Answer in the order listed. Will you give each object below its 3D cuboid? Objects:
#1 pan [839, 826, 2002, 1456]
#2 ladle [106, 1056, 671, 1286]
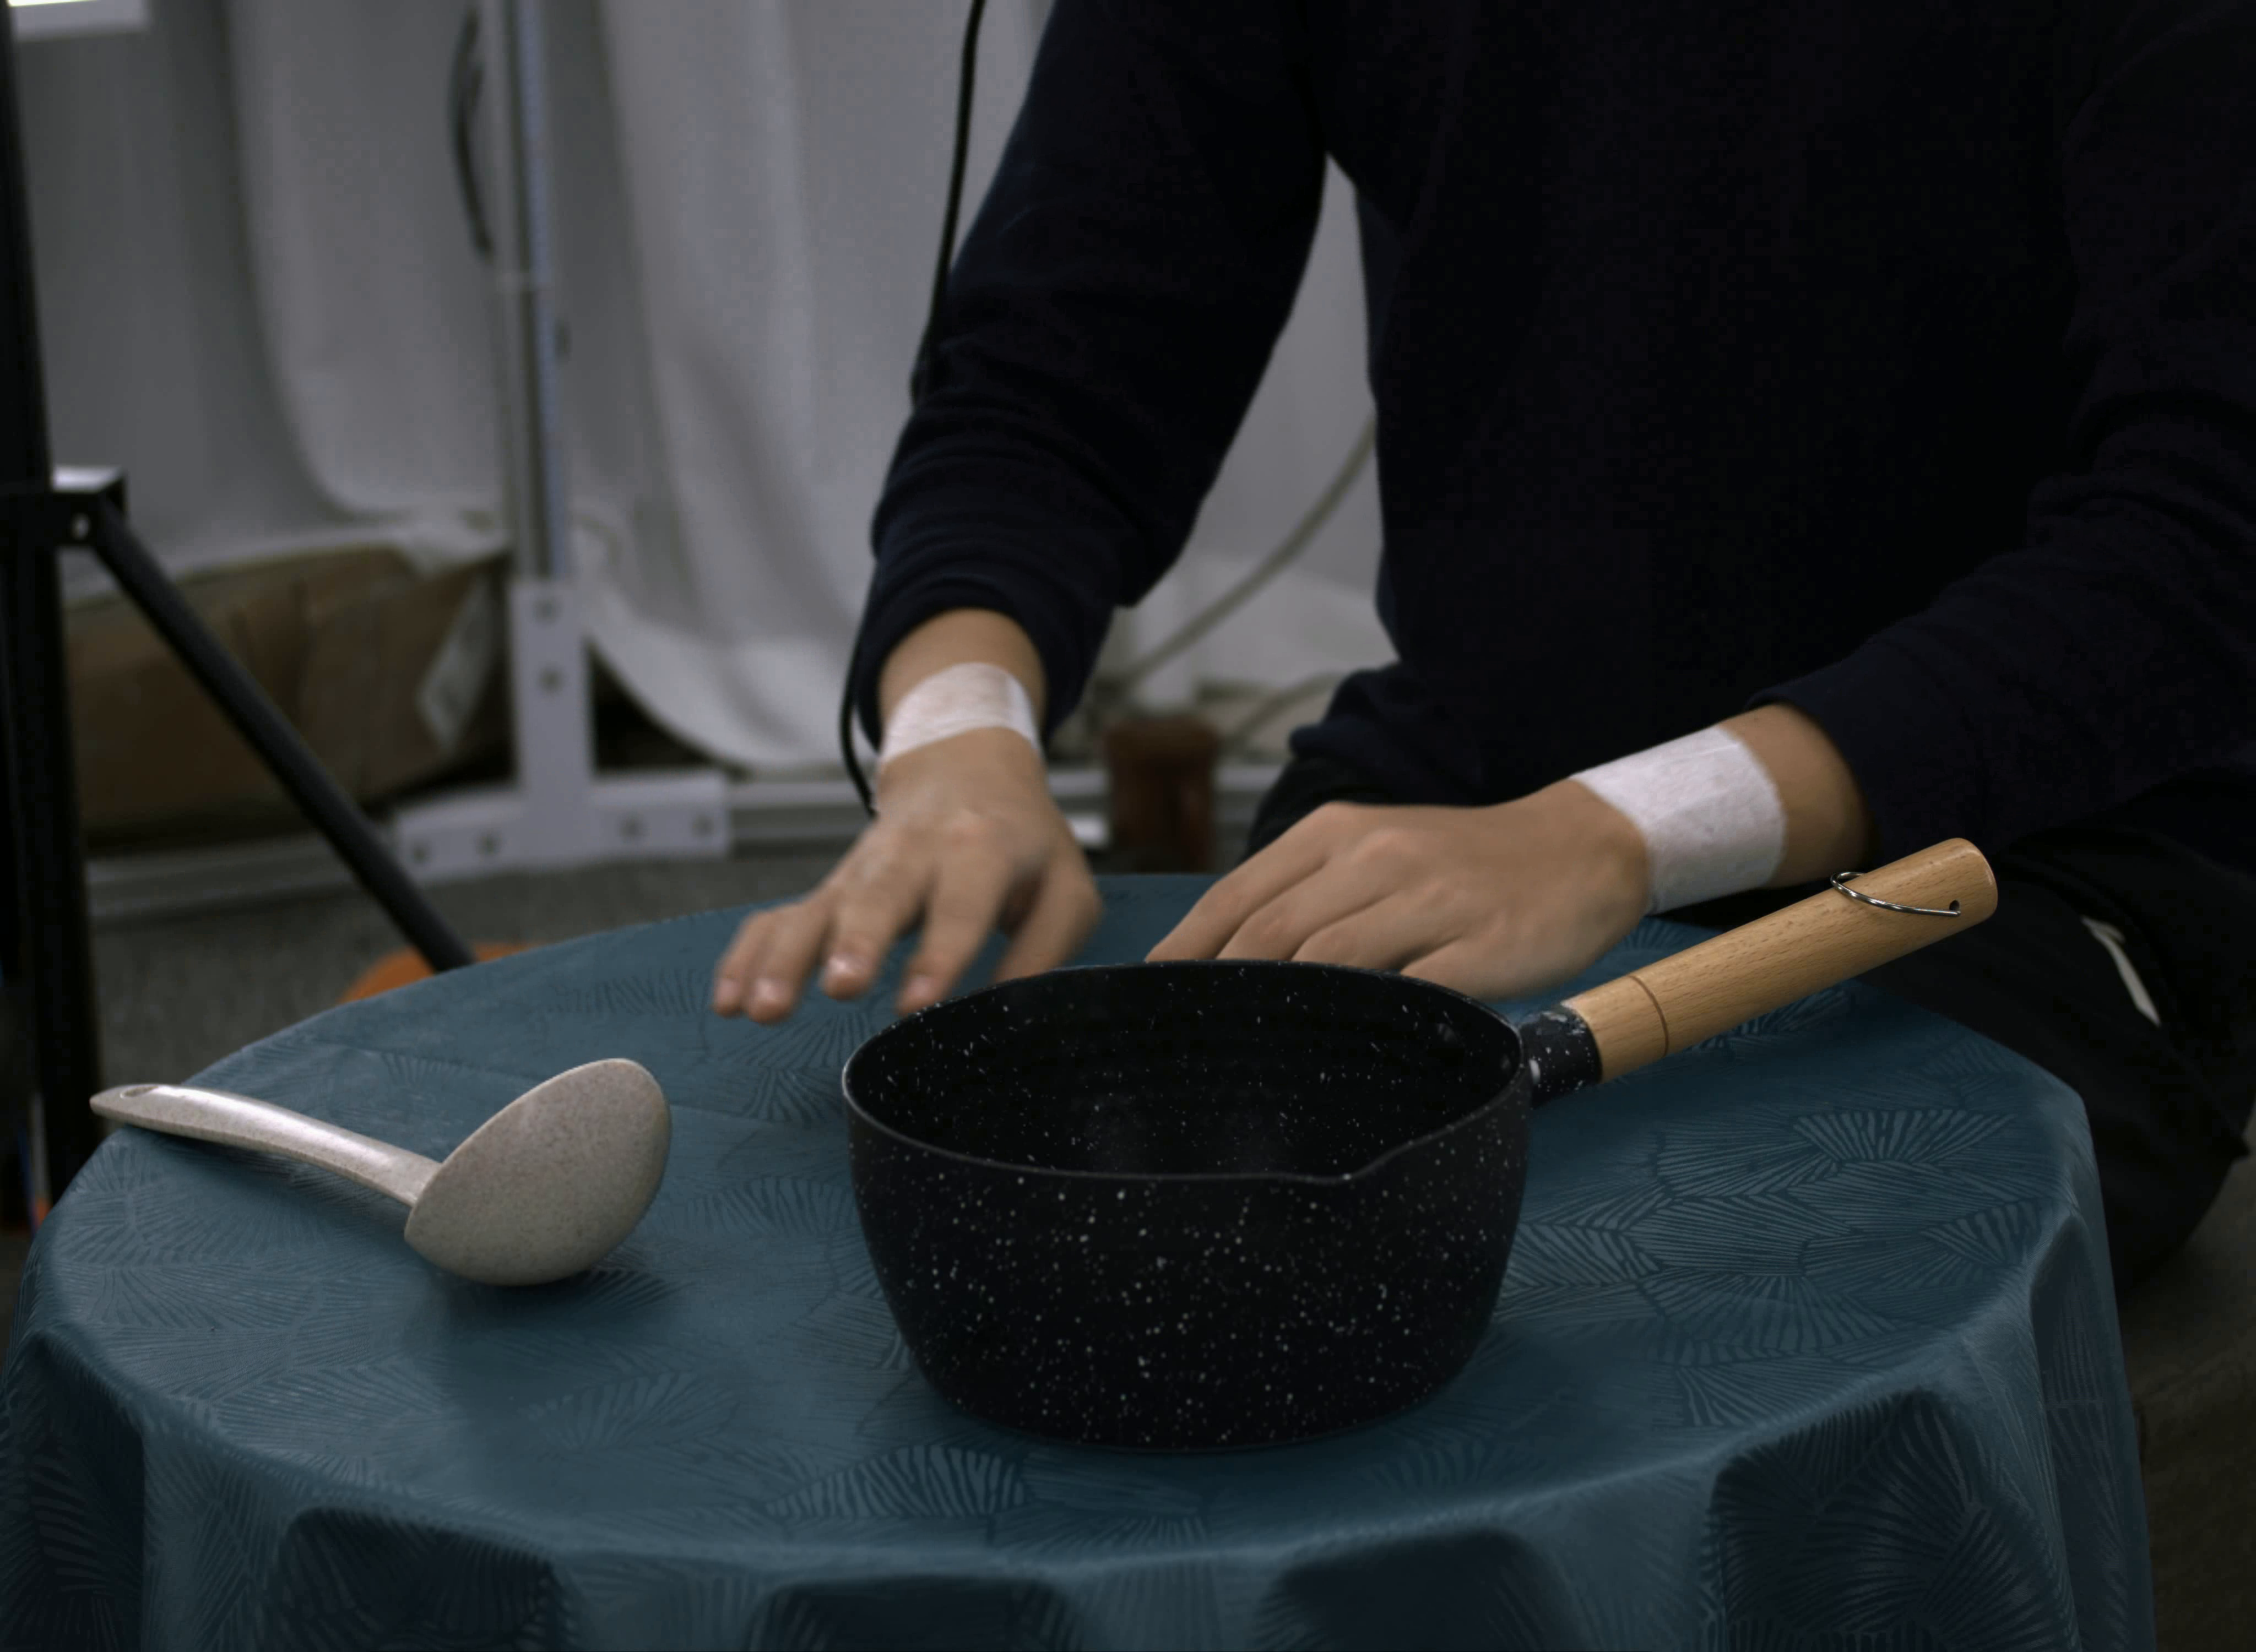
[{"bbox_3d":[0.089,0.079,1.445,0.336,0.108,0.211,-11,16,-21],"label":"pan"},{"bbox_3d":[-0.236,0.080,1.586,0.087,0.069,0.281,-25,24,-34],"label":"ladle"}]
